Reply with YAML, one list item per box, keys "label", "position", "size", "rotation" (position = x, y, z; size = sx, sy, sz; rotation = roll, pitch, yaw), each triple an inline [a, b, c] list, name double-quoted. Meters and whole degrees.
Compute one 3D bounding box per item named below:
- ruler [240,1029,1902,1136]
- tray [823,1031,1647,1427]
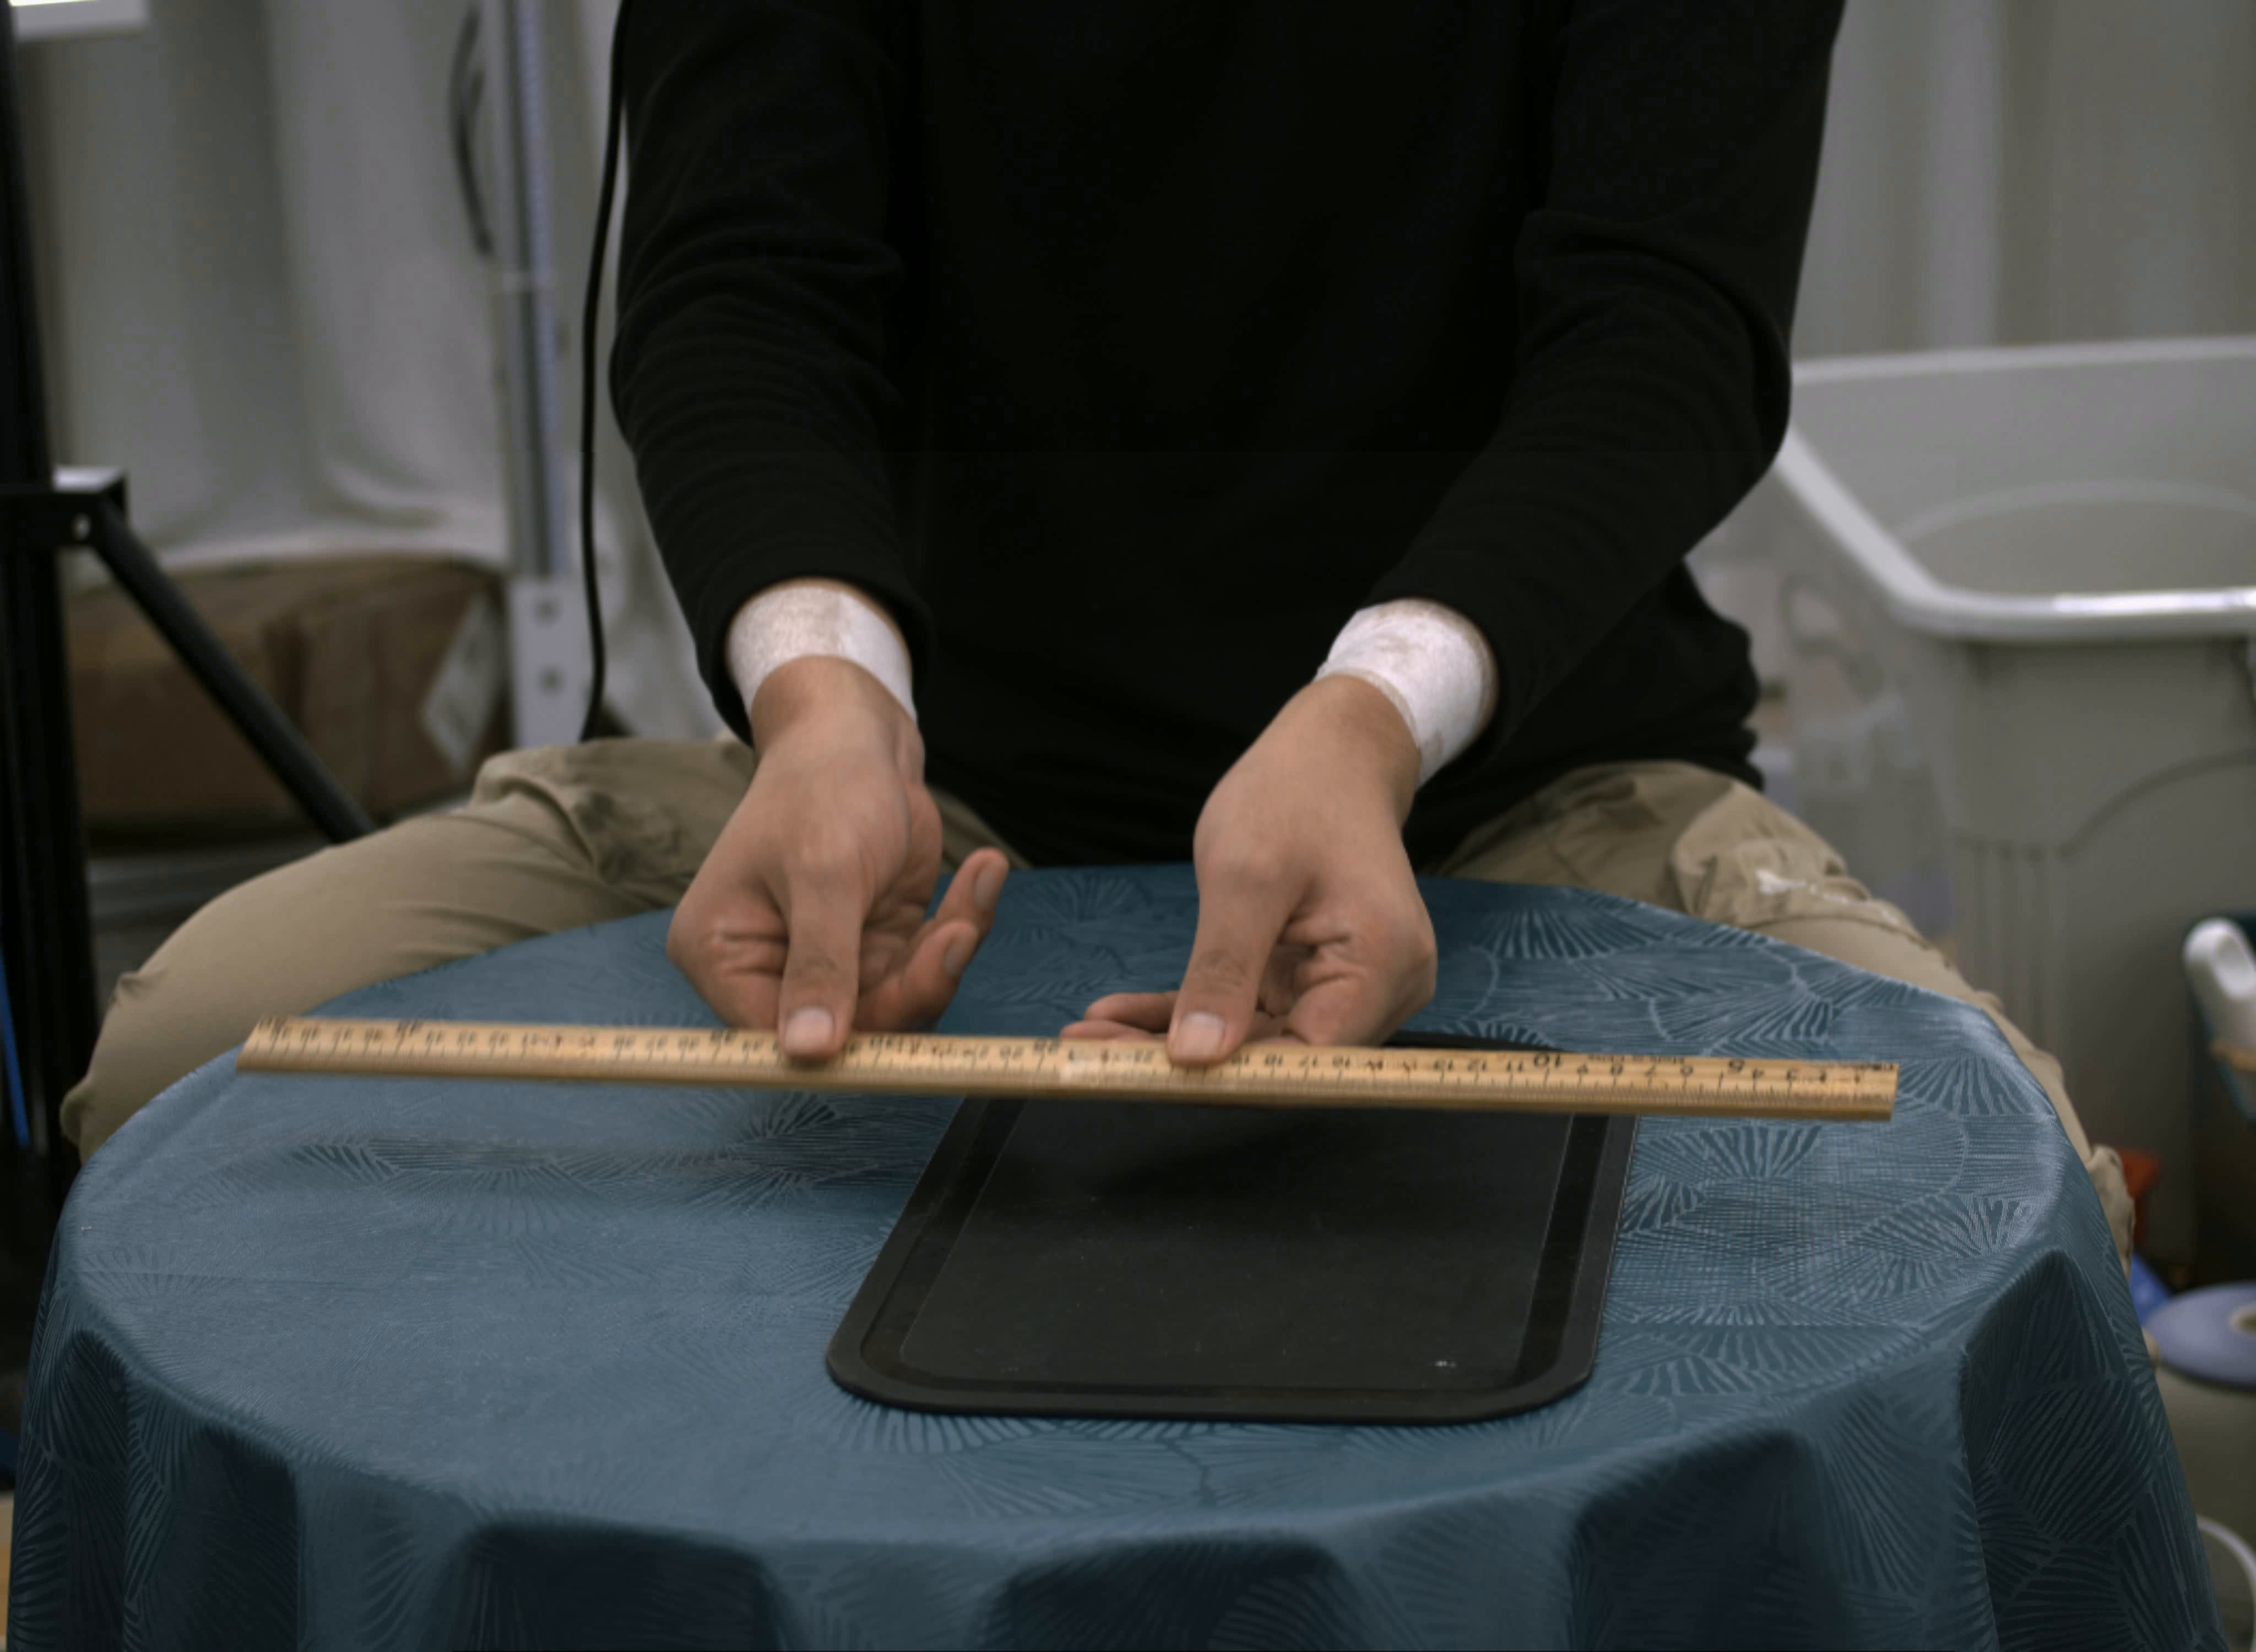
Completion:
- label: "ruler"
  position: [-0.025, 0.074, 1.555]
  size: [0.504, 0.006, 0.027]
  rotation: [1, 32, 16]
- label: "tray"
  position: [0.039, 0.109, 1.535]
  size: [0.212, 0.010, 0.324]
  rotation: [0, 16, 10]
